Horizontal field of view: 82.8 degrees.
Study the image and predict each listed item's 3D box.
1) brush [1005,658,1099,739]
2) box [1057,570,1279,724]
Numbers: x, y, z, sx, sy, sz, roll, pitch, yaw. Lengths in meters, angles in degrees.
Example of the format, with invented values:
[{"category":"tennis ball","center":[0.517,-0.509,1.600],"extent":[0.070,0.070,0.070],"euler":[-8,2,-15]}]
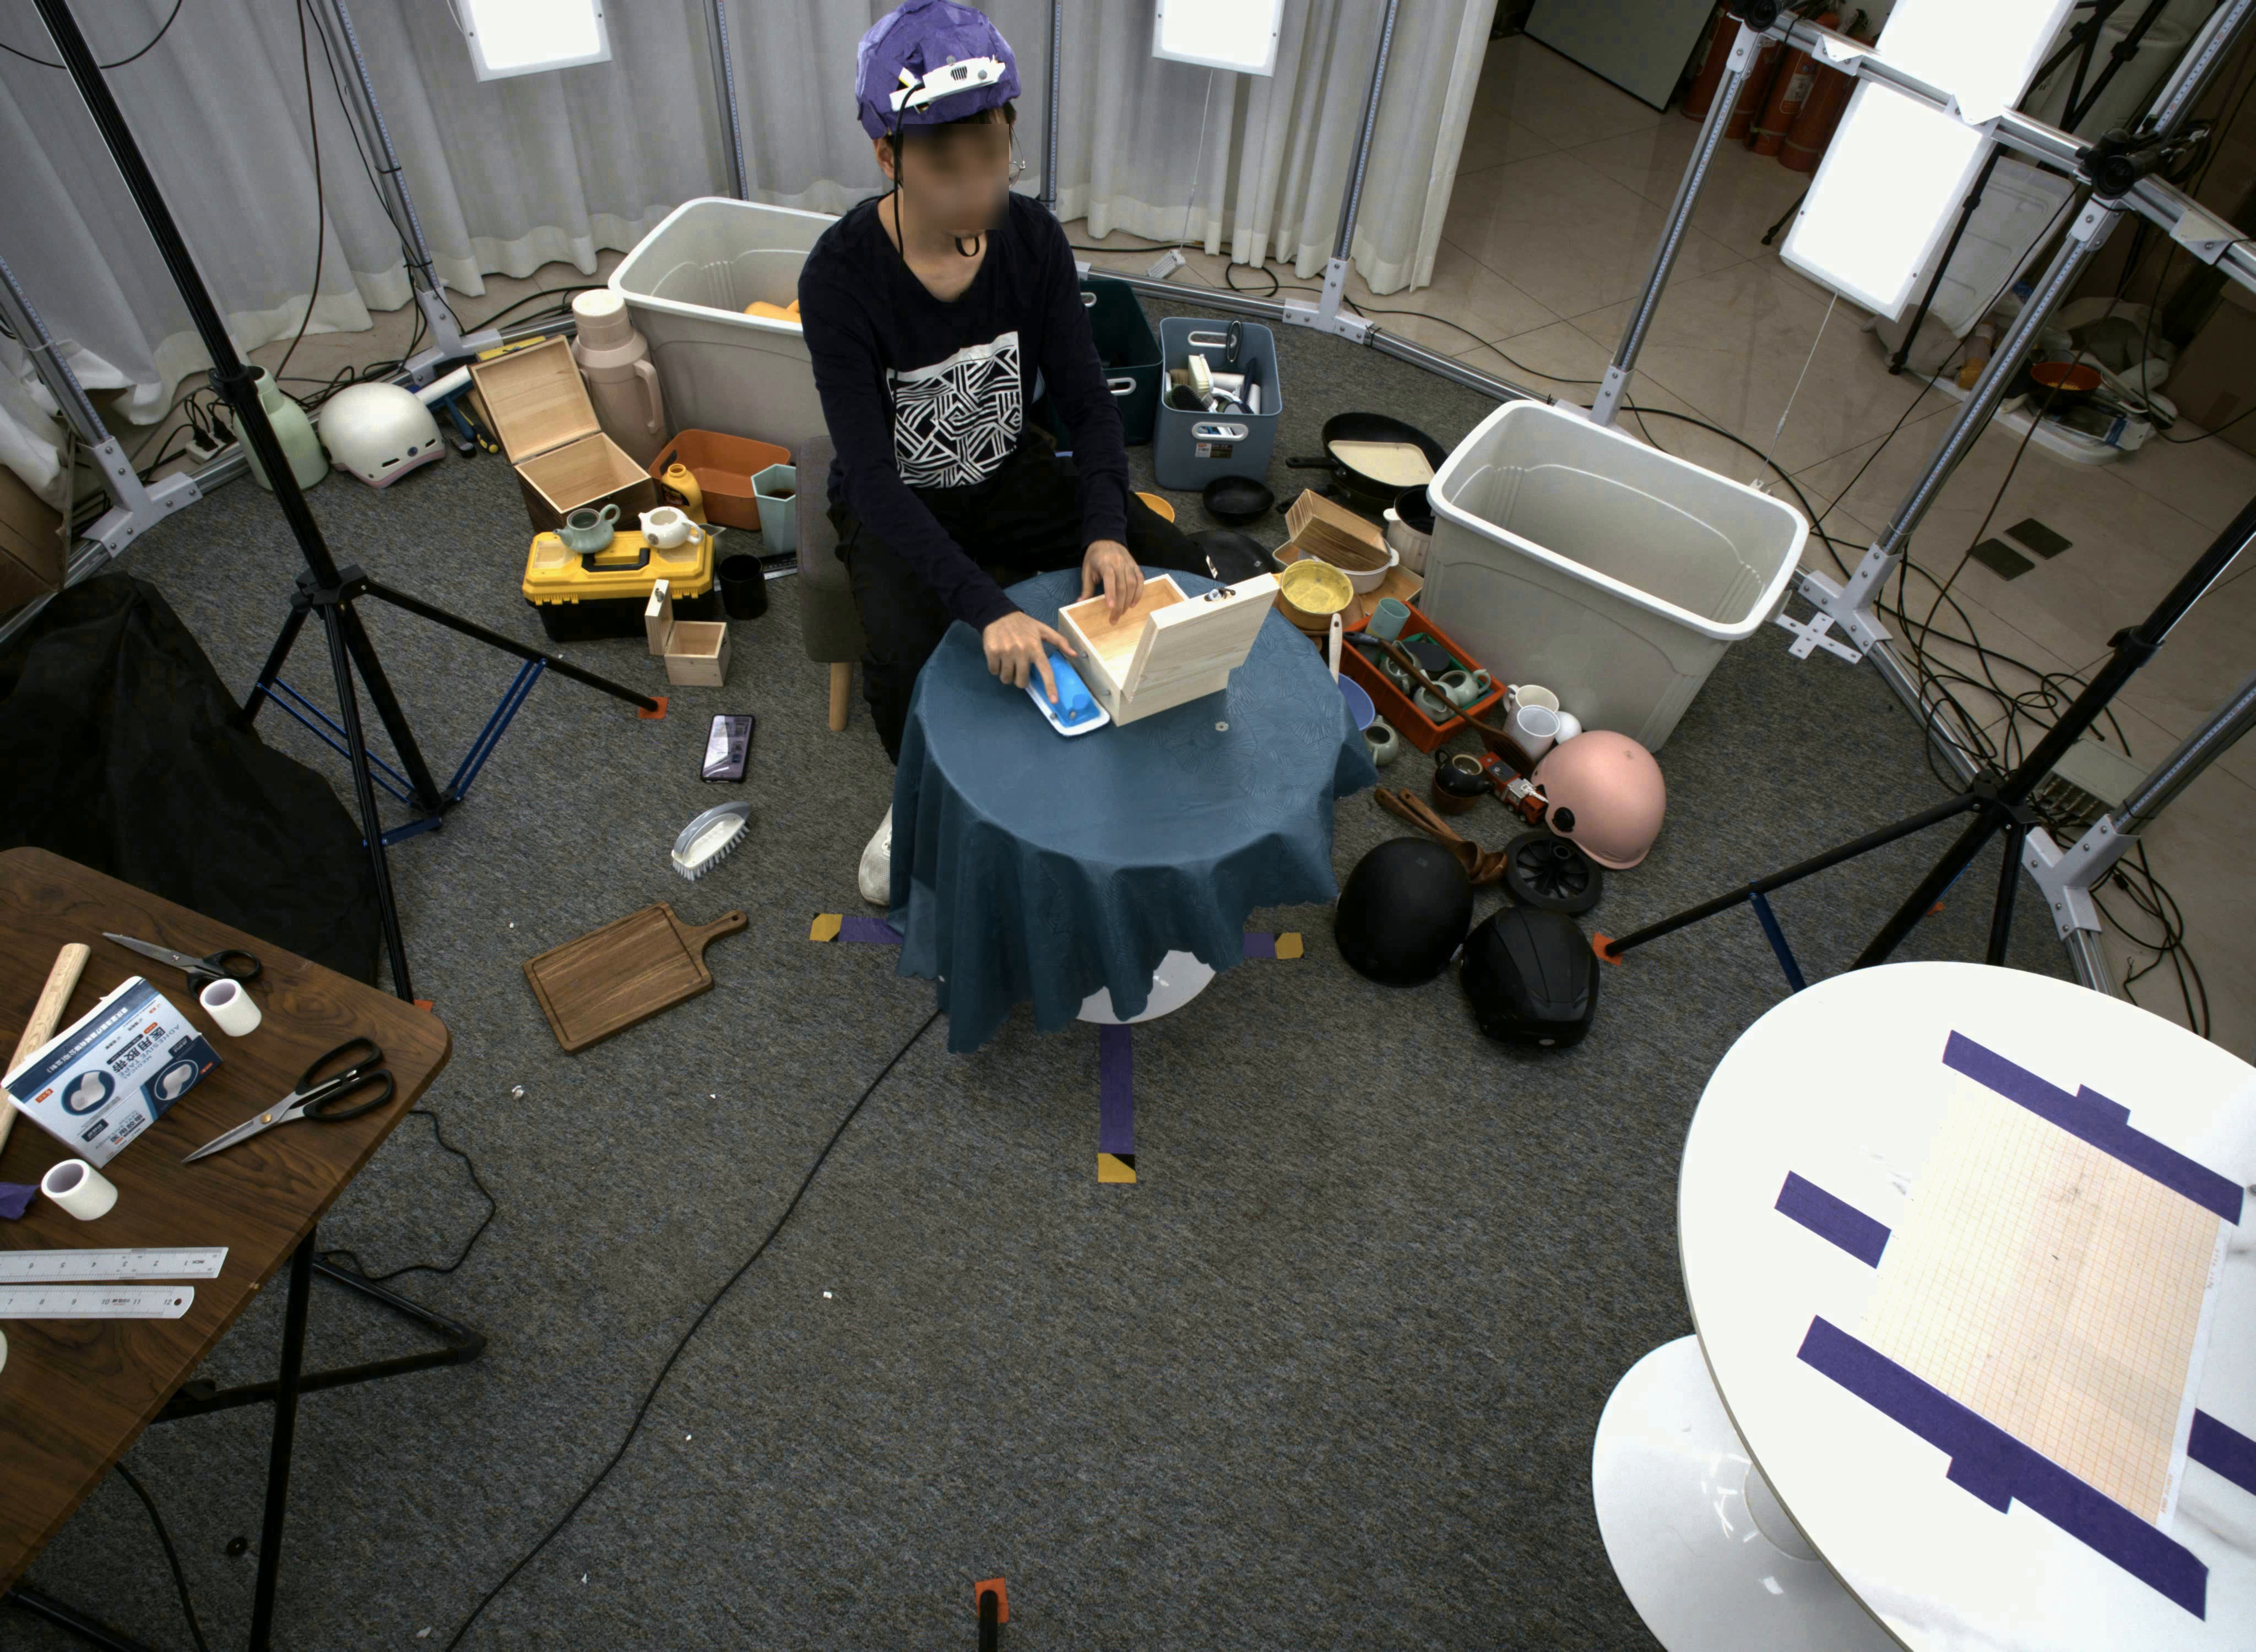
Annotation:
[{"category":"brush","center":[-0.103,-0.184,1.787],"extent":[0.084,0.054,0.146],"euler":[-22,57,-33]},{"category":"box","center":[0.042,-0.288,1.758],"extent":[0.182,0.247,0.271],"euler":[-21,53,-22]}]
